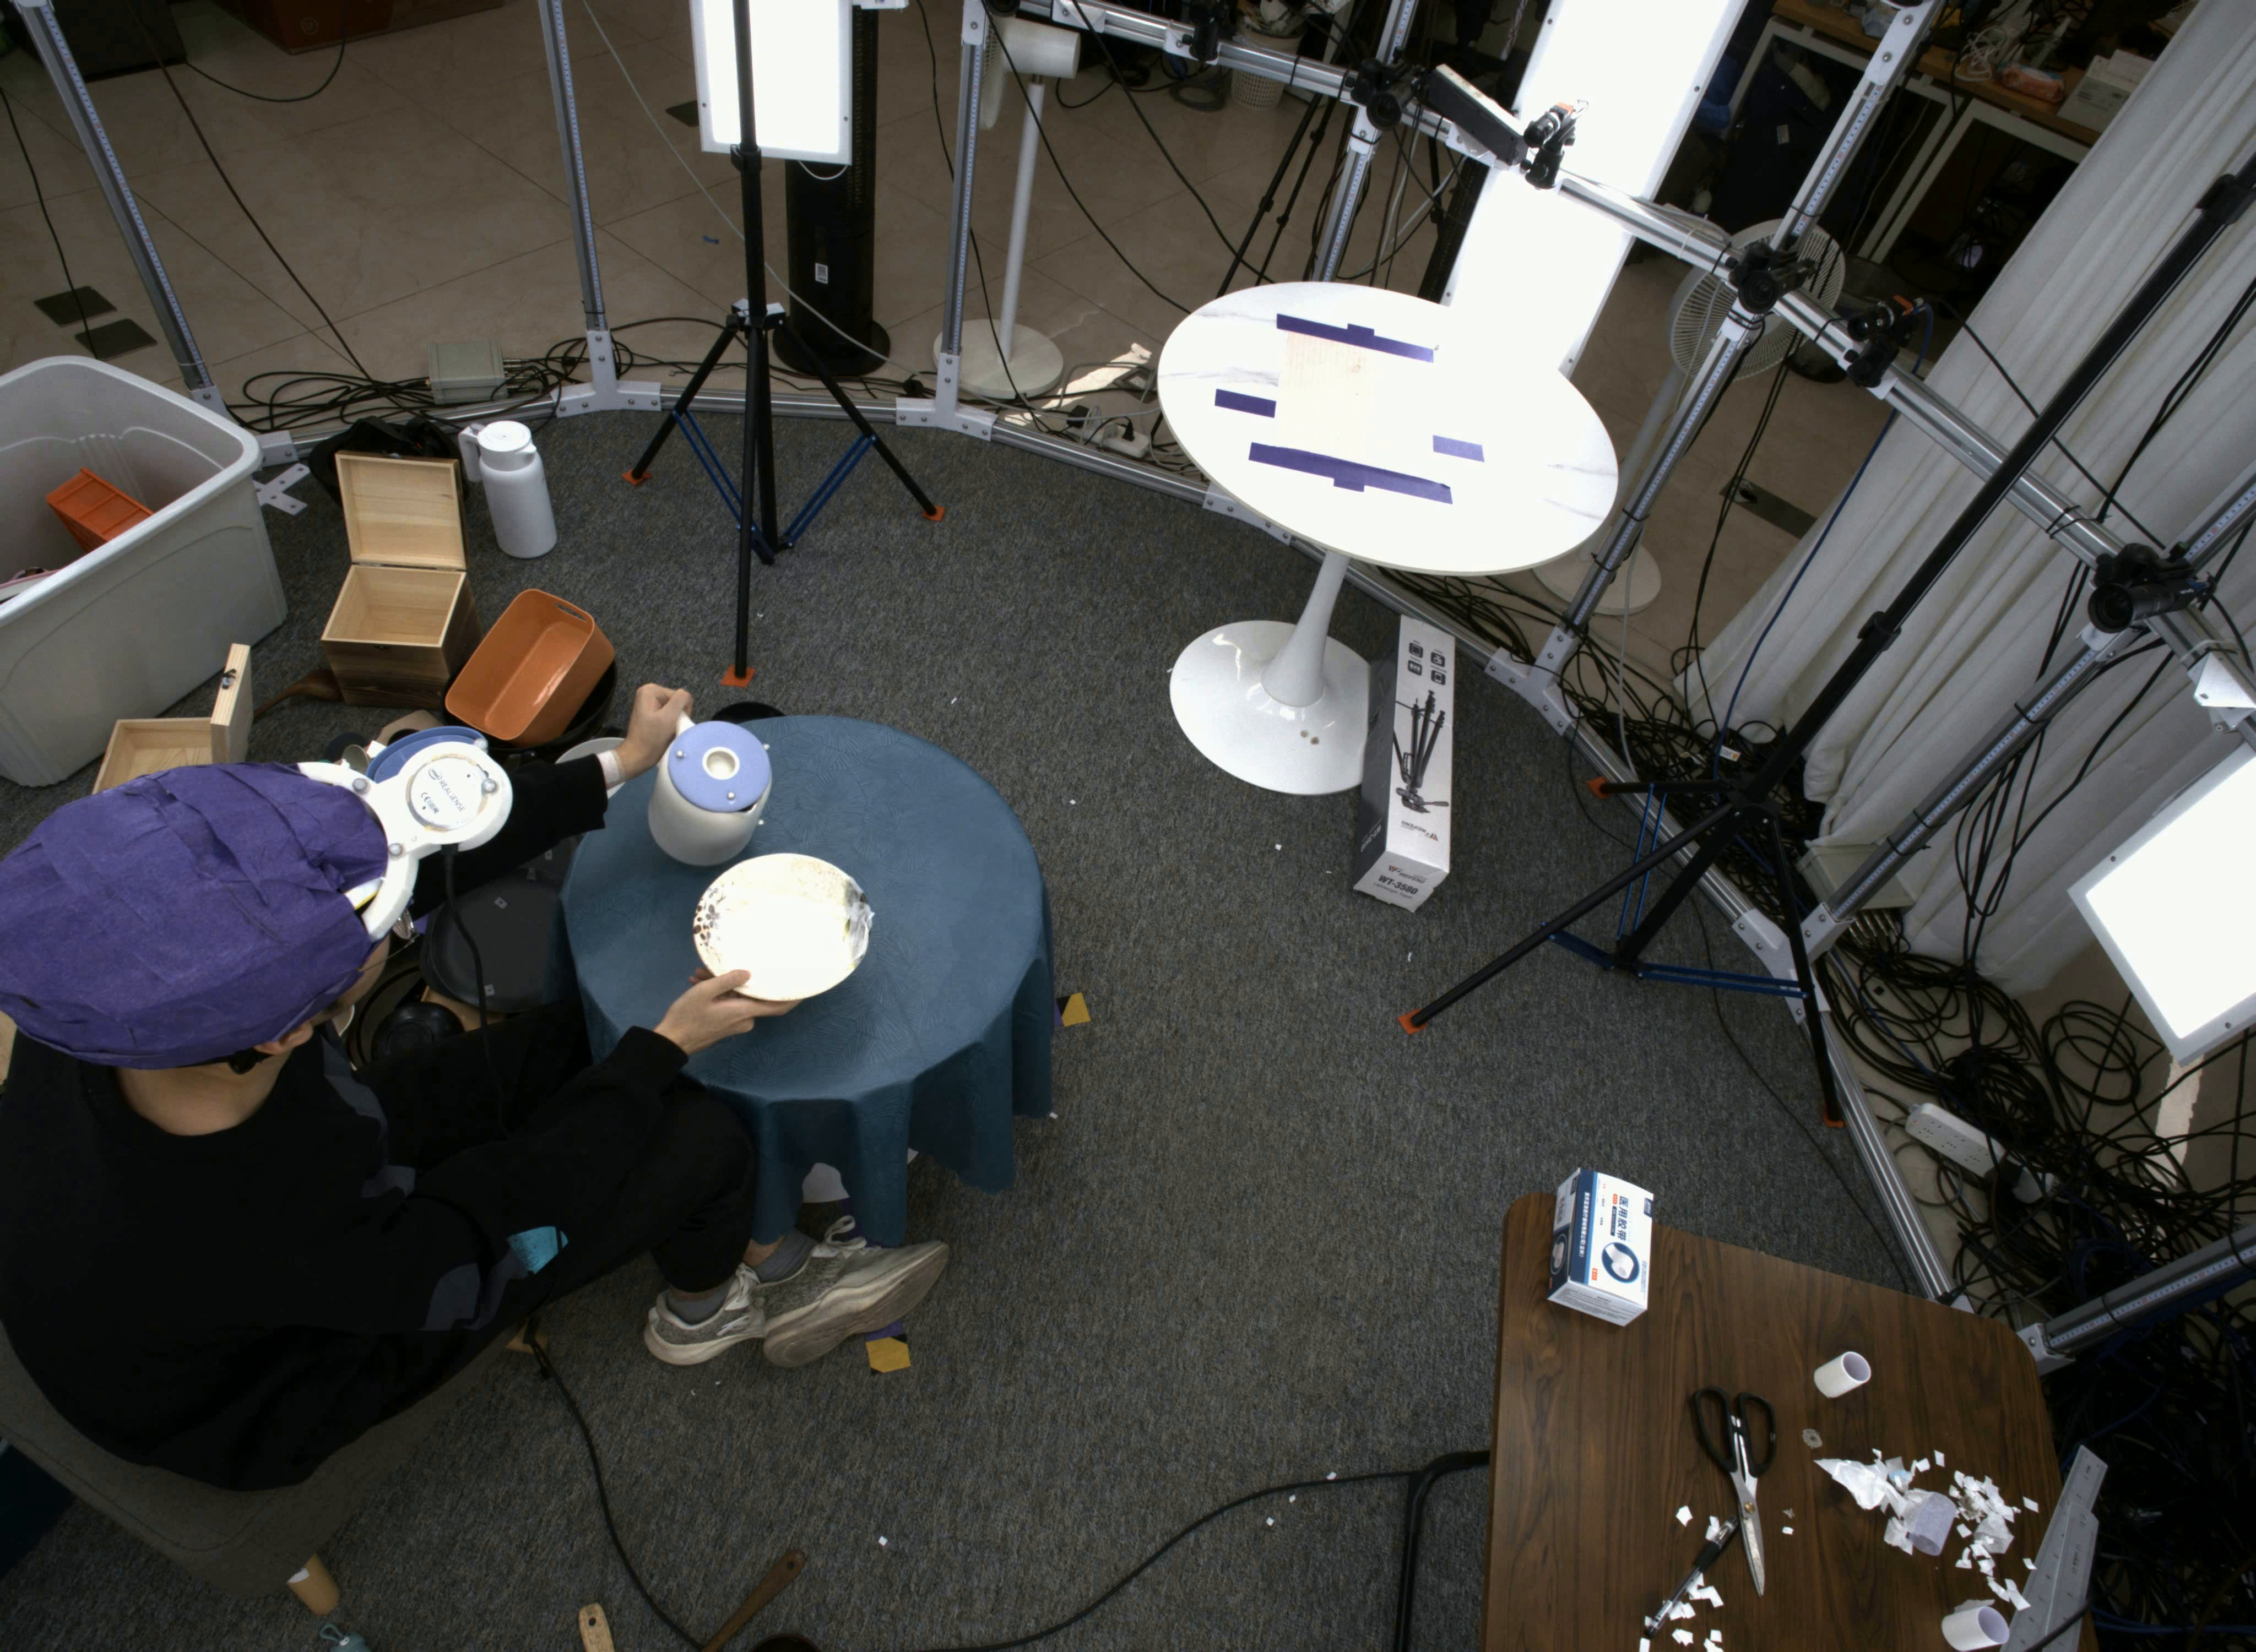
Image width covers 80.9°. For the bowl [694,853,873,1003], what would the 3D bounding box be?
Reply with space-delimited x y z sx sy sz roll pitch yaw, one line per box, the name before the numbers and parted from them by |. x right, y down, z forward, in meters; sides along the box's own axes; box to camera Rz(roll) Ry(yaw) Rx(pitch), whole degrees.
bowl | -0.404 0.134 1.534 0.203 0.079 0.200 6 55 -7

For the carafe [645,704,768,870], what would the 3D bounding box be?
carafe | -0.530 -0.058 1.581 0.132 0.183 0.190 -37 84 -35
